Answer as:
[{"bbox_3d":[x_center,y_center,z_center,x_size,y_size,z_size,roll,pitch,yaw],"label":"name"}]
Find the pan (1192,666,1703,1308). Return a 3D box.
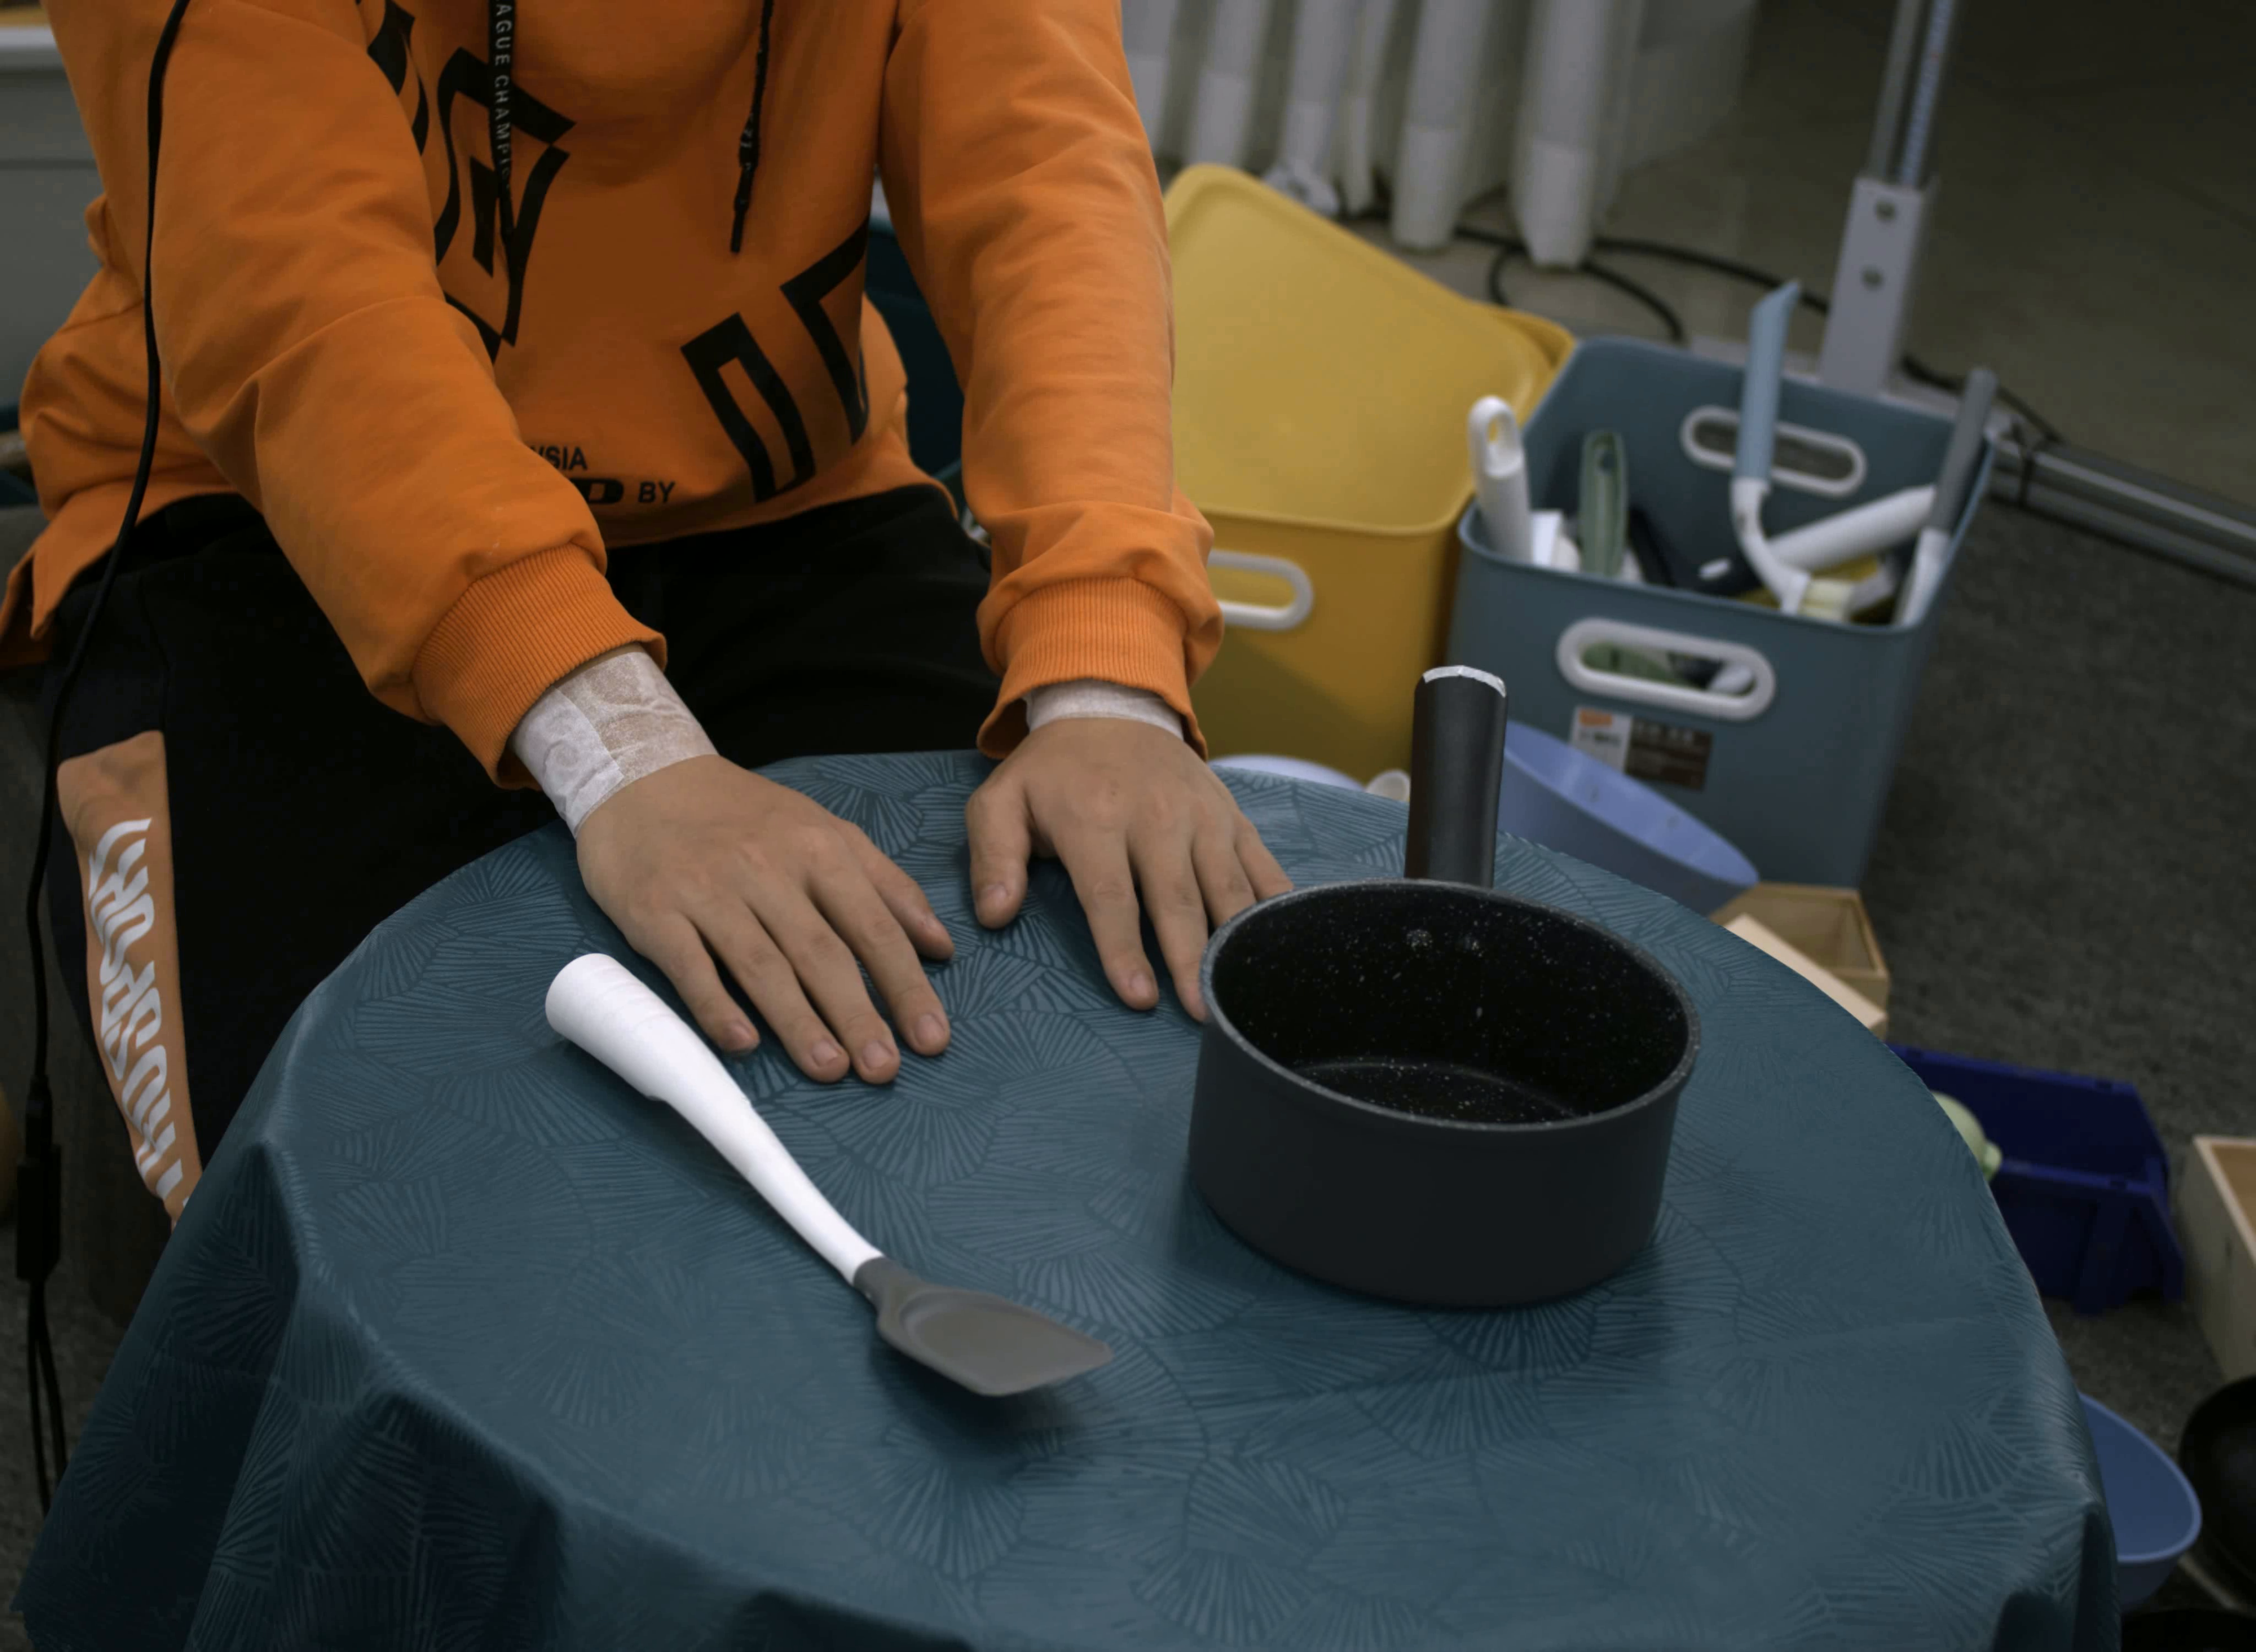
[{"bbox_3d":[0.114,0.052,1.875,0.172,0.086,0.330,9,29,3],"label":"pan"}]

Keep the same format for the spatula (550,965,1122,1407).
[{"bbox_3d":[-0.104,0.122,1.749,0.058,0.032,0.290,-10,30,-35],"label":"spatula"}]
